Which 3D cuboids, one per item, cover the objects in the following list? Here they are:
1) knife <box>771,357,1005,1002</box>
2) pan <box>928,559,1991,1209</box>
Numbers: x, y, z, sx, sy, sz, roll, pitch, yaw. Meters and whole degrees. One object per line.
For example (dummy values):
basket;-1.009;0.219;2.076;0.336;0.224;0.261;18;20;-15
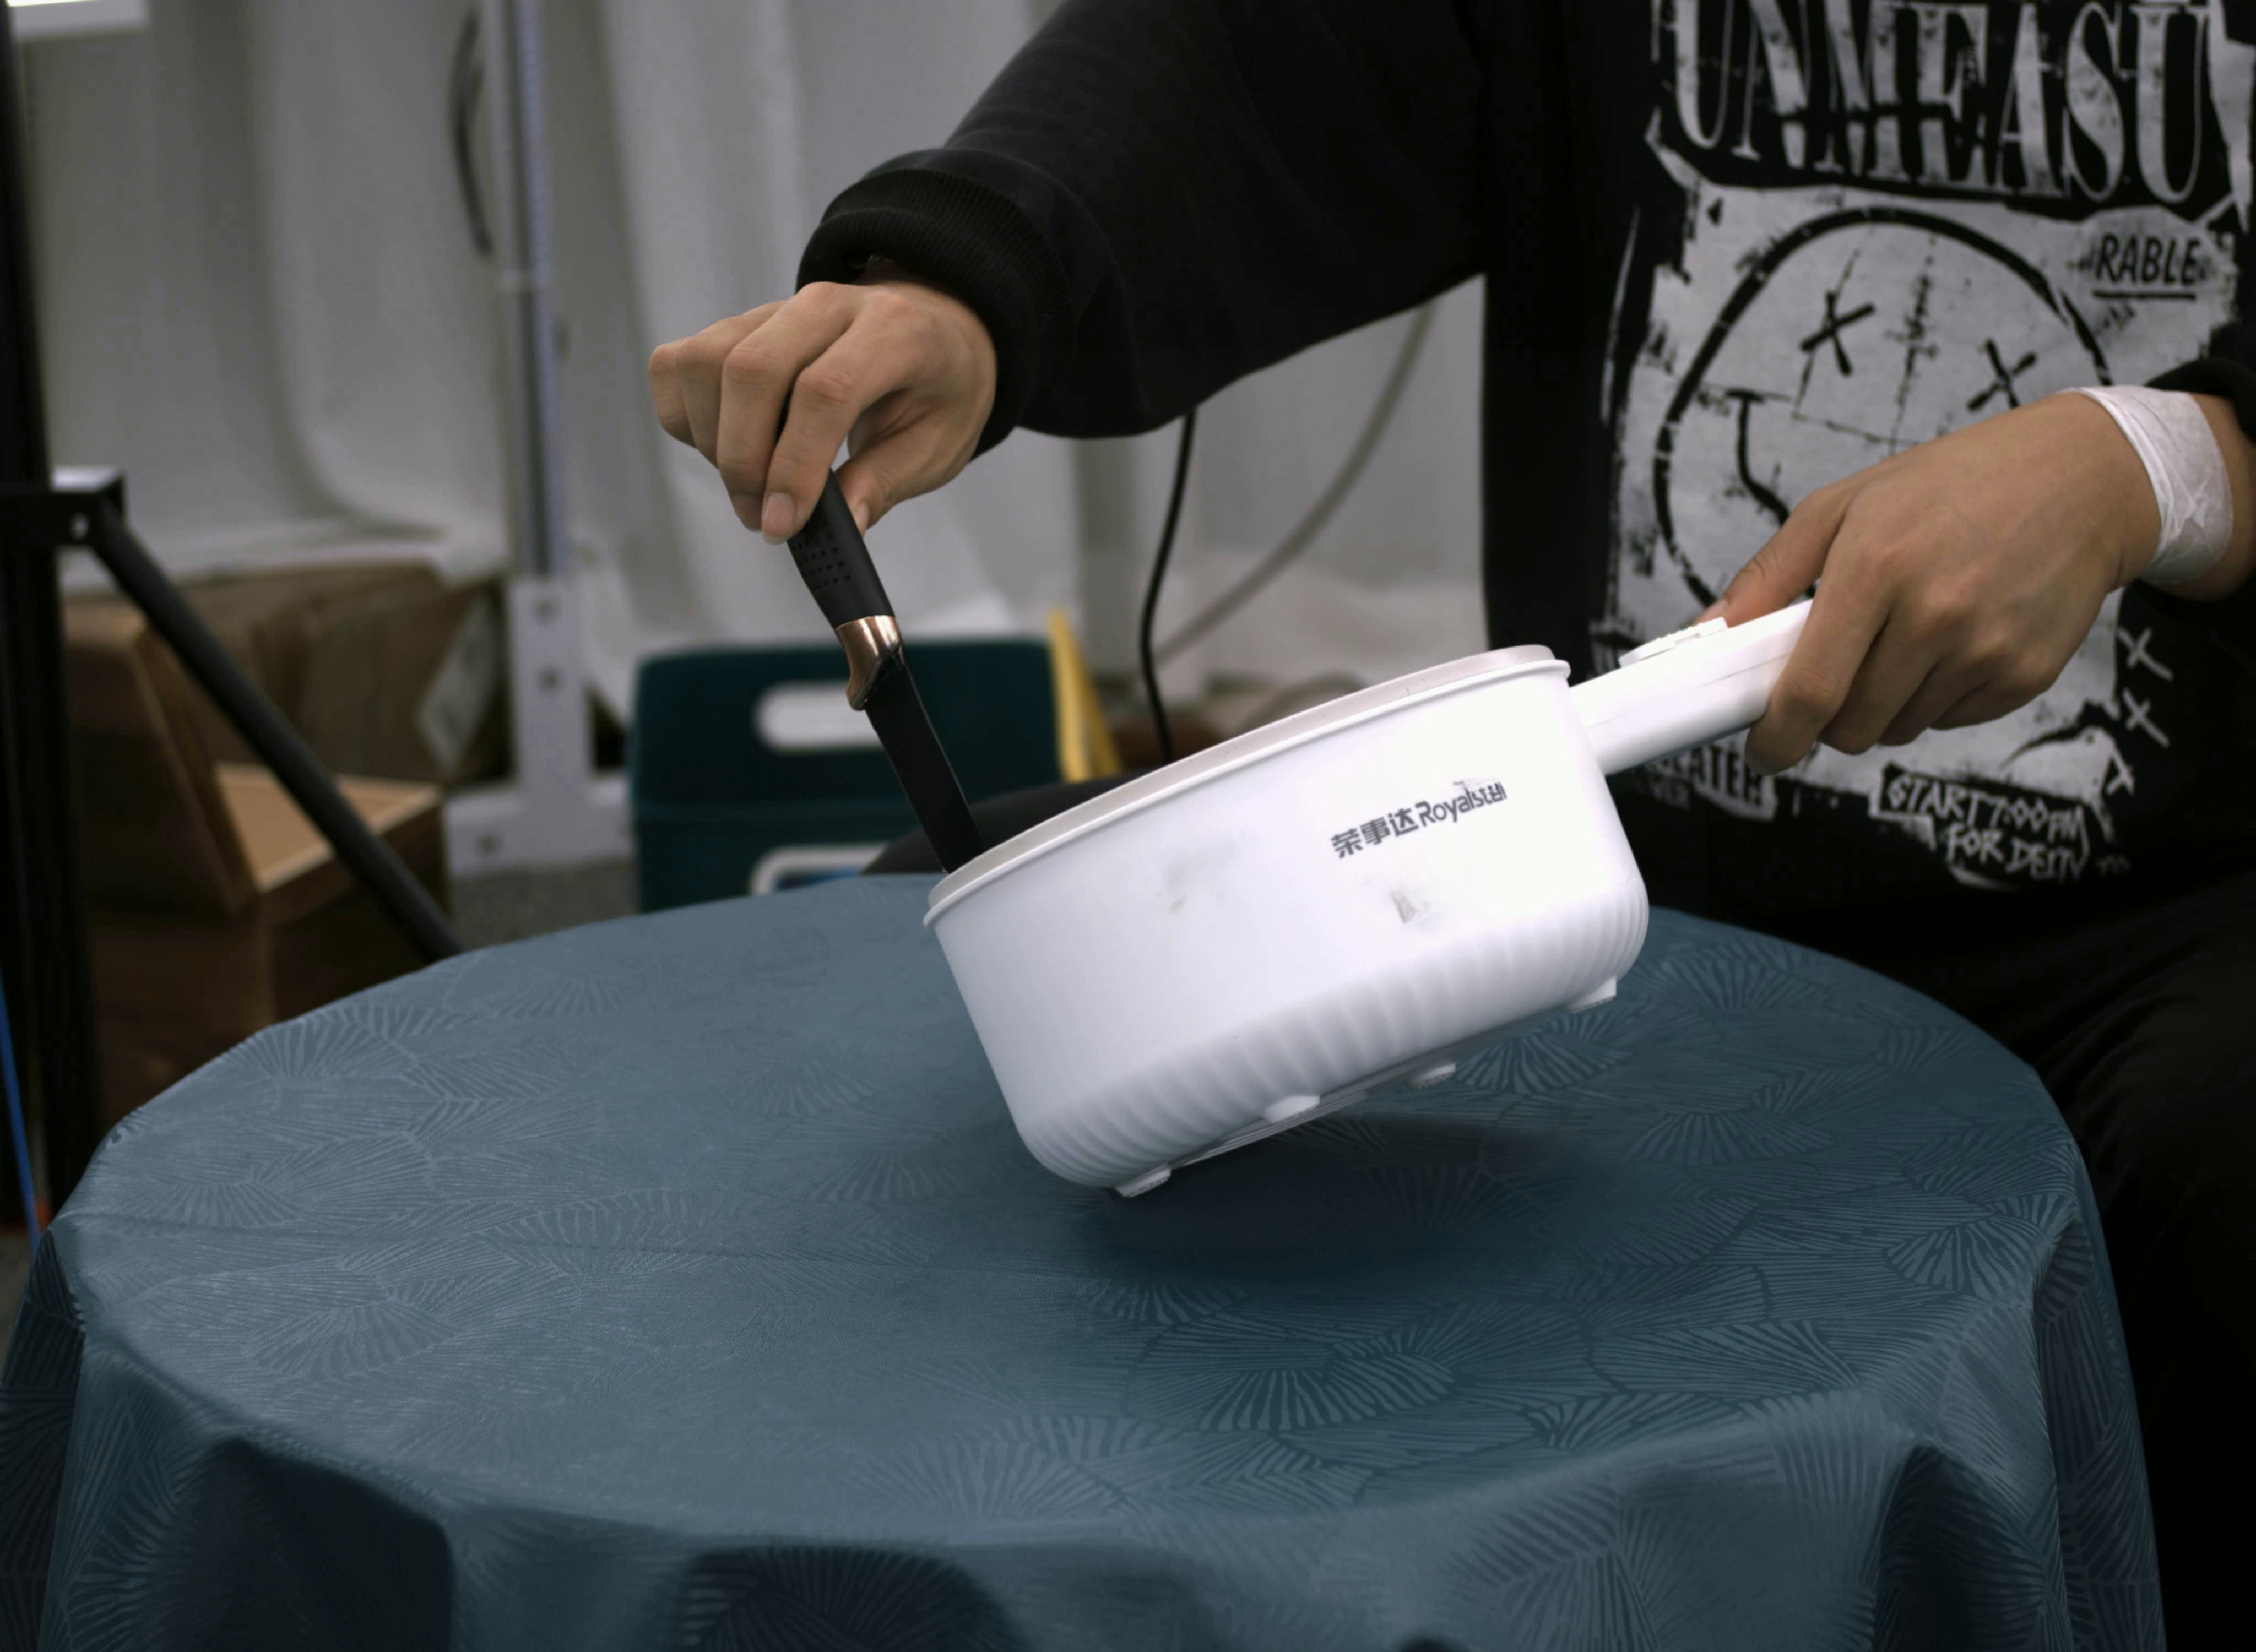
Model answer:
knife;-0.065;-0.045;1.531;0.026;0.017;0.229;-9;57;-18
pan;0.116;0.014;1.558;0.348;0.103;0.203;-17;-9;-26
